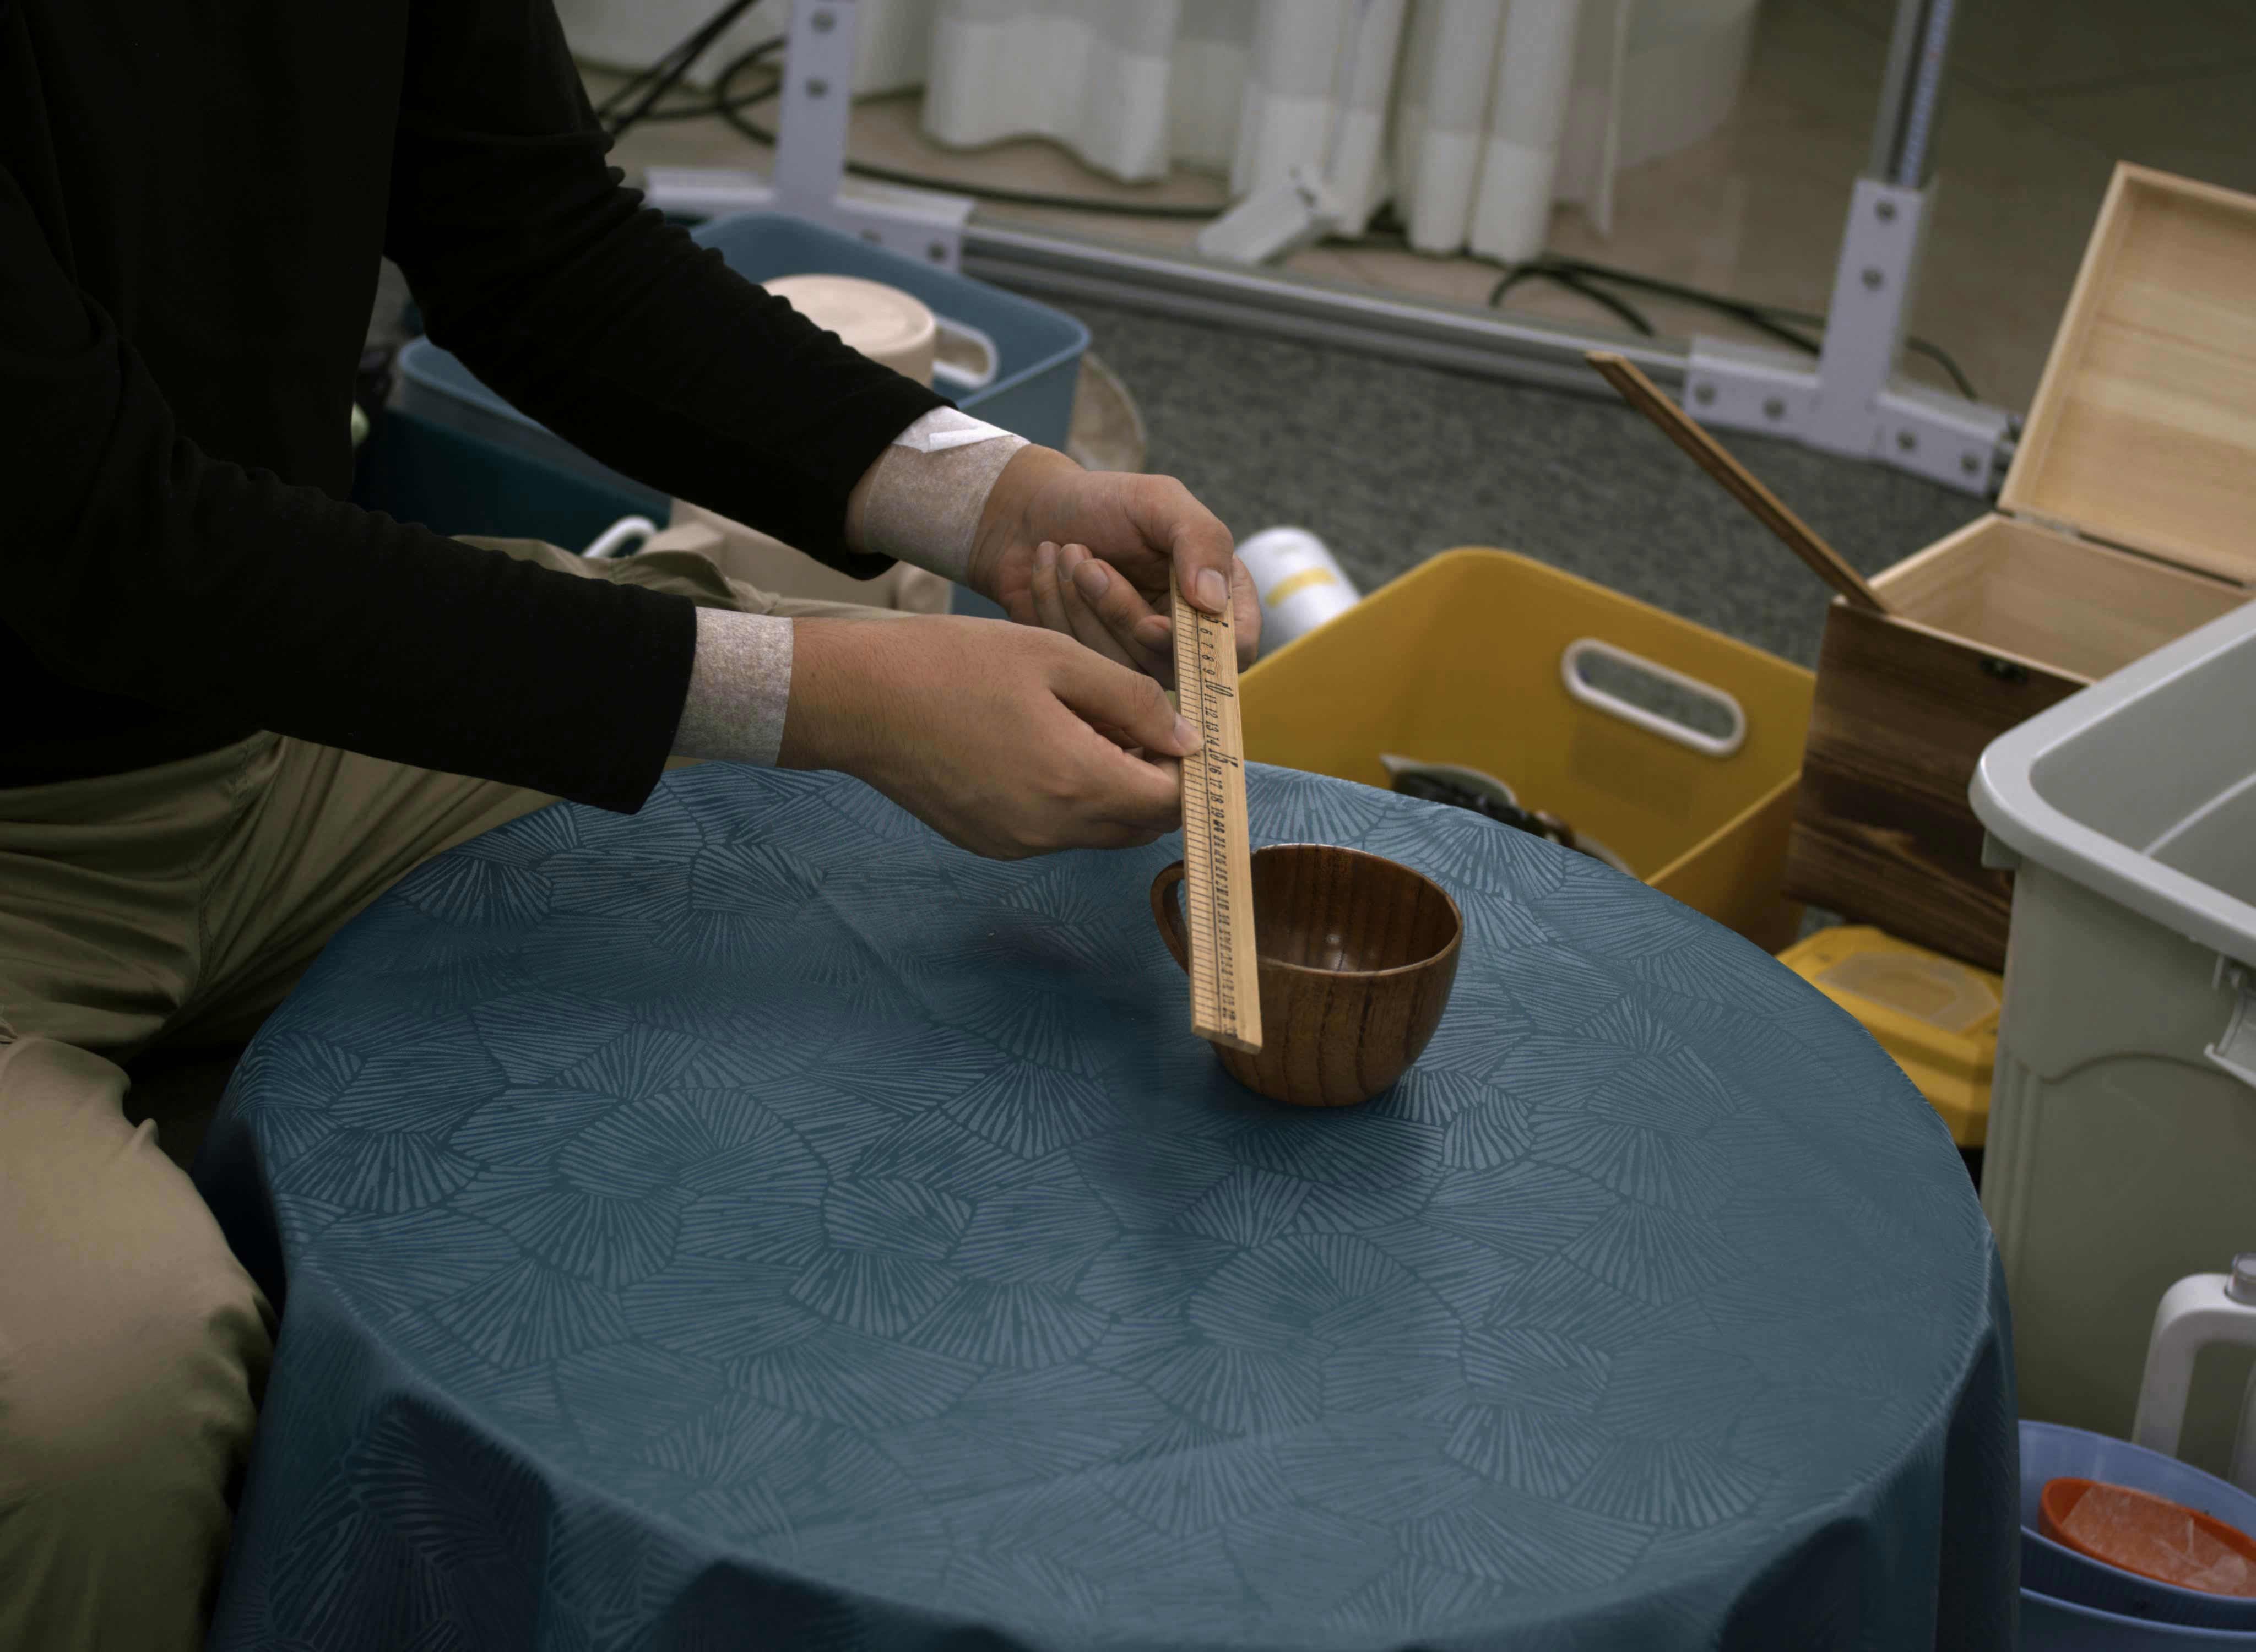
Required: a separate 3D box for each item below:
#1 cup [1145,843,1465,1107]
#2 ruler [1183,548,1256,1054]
[{"bbox_3d":[0.058,0.052,1.884,0.120,0.067,0.096,20,31,28],"label":"cup"},{"bbox_3d":[0.033,-0.018,1.916,0.027,0.022,0.334,24,28,-13],"label":"ruler"}]
